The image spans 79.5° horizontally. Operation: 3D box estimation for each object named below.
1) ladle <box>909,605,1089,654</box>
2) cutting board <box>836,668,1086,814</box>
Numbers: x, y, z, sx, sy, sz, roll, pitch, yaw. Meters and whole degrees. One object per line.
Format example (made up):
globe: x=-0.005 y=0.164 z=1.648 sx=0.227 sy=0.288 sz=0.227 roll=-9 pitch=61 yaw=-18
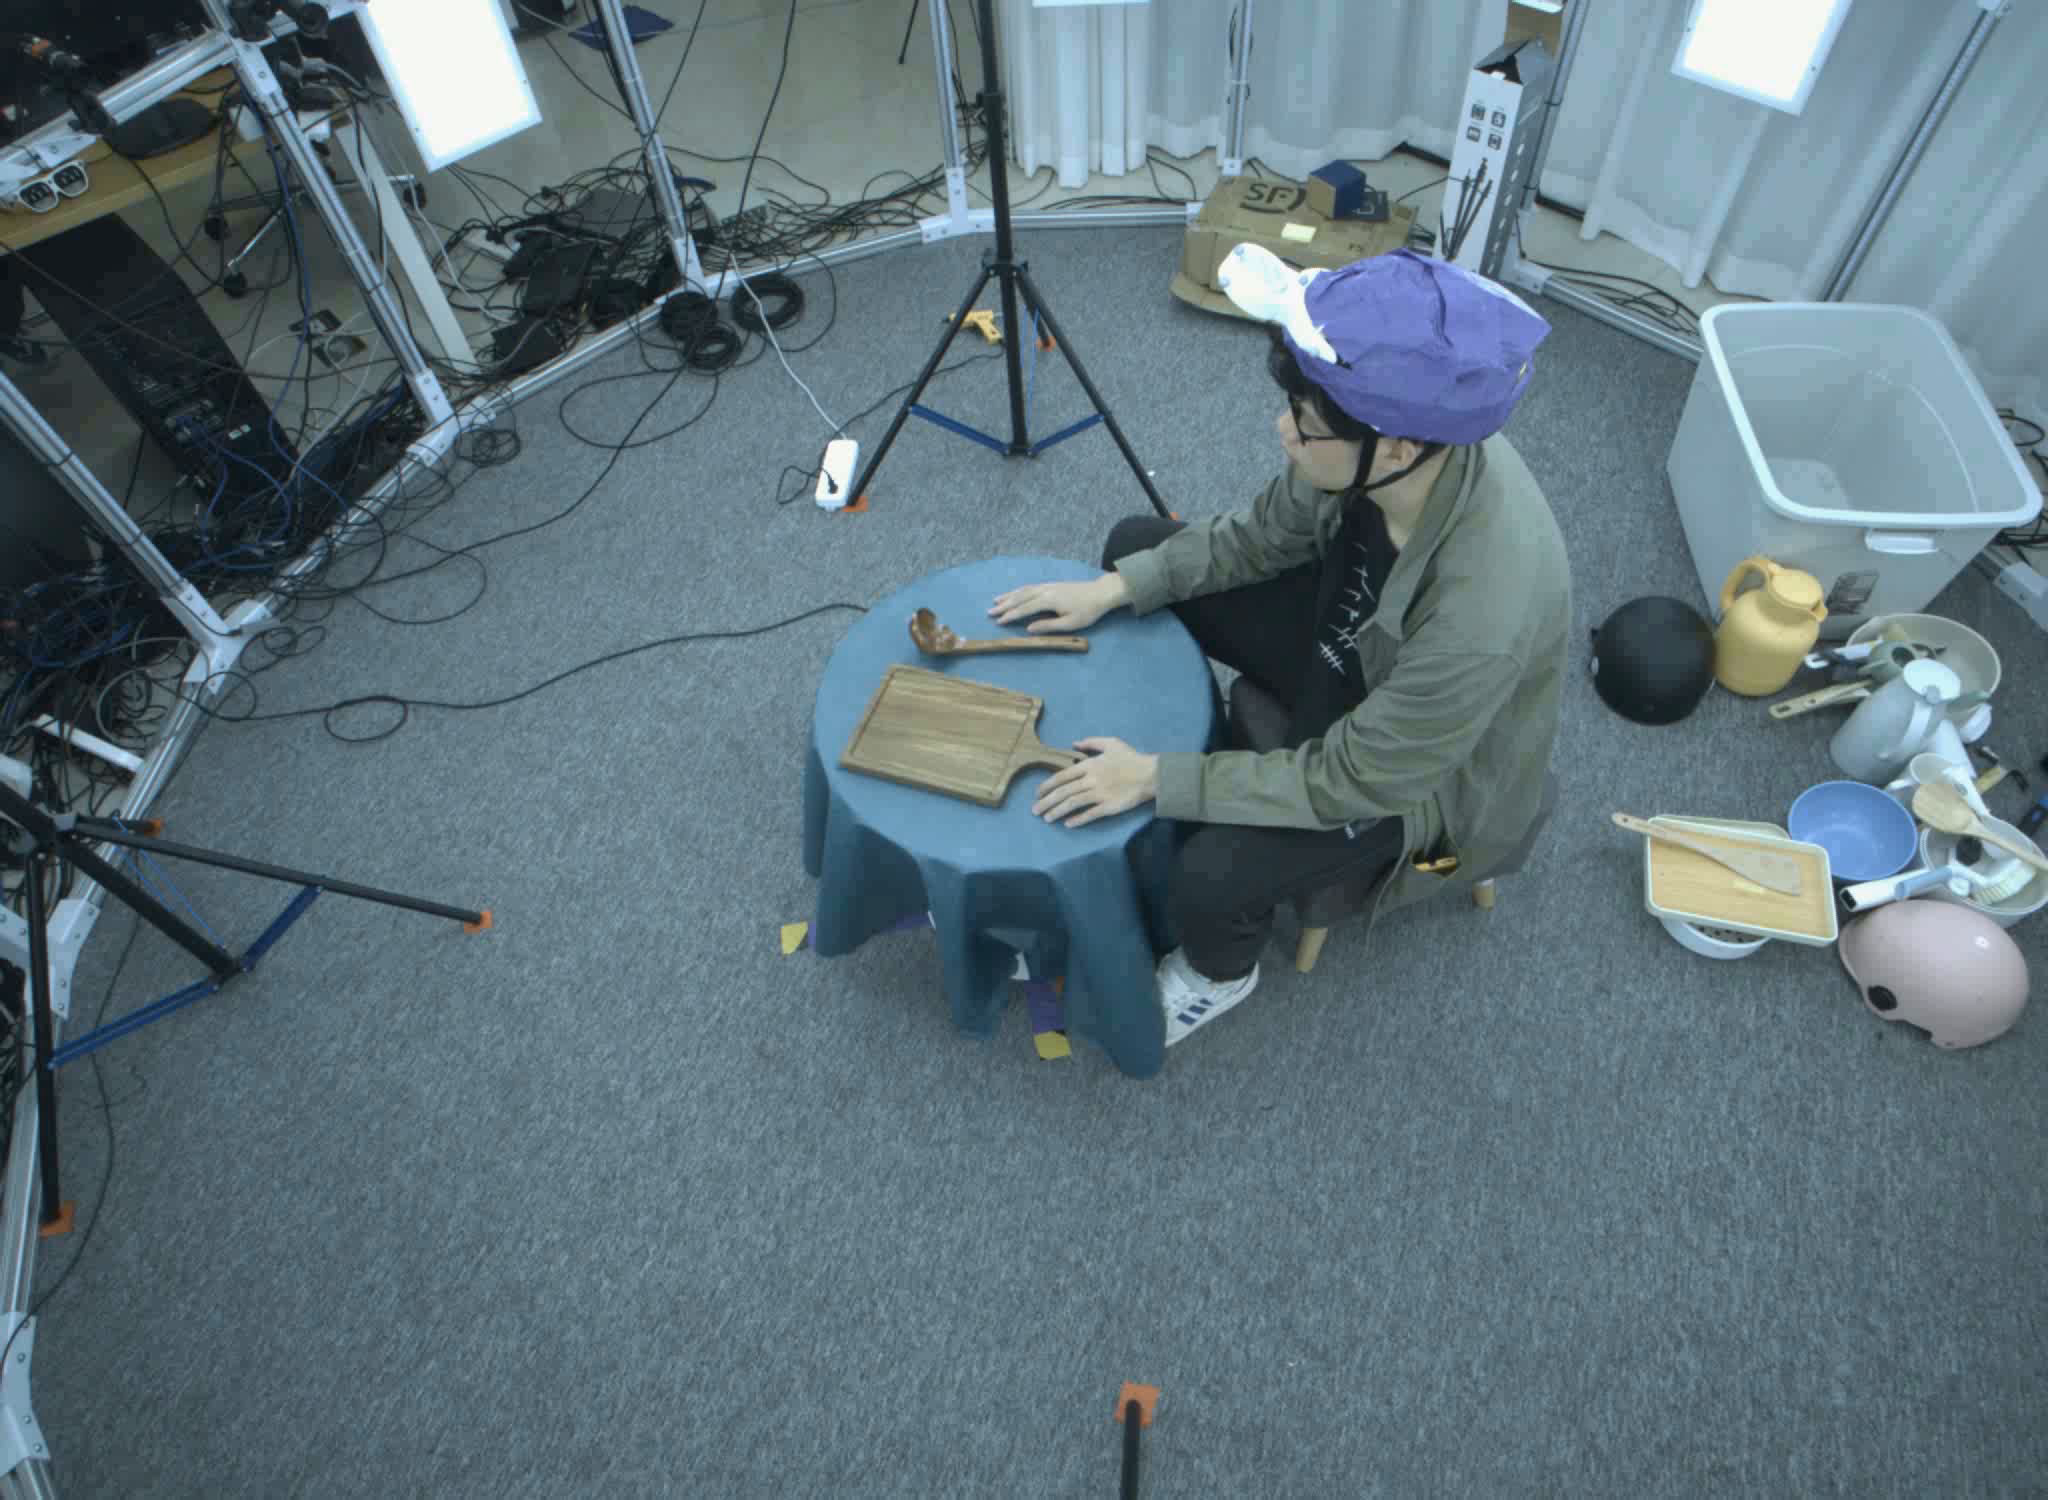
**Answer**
ladle: x=-0.039 y=-0.183 z=1.877 sx=0.274 sy=0.077 sz=0.081 roll=0 pitch=50 yaw=1
cutting board: x=-0.079 y=-0.006 z=1.785 sx=0.349 sy=0.023 sz=0.201 roll=15 pitch=57 yaw=12
